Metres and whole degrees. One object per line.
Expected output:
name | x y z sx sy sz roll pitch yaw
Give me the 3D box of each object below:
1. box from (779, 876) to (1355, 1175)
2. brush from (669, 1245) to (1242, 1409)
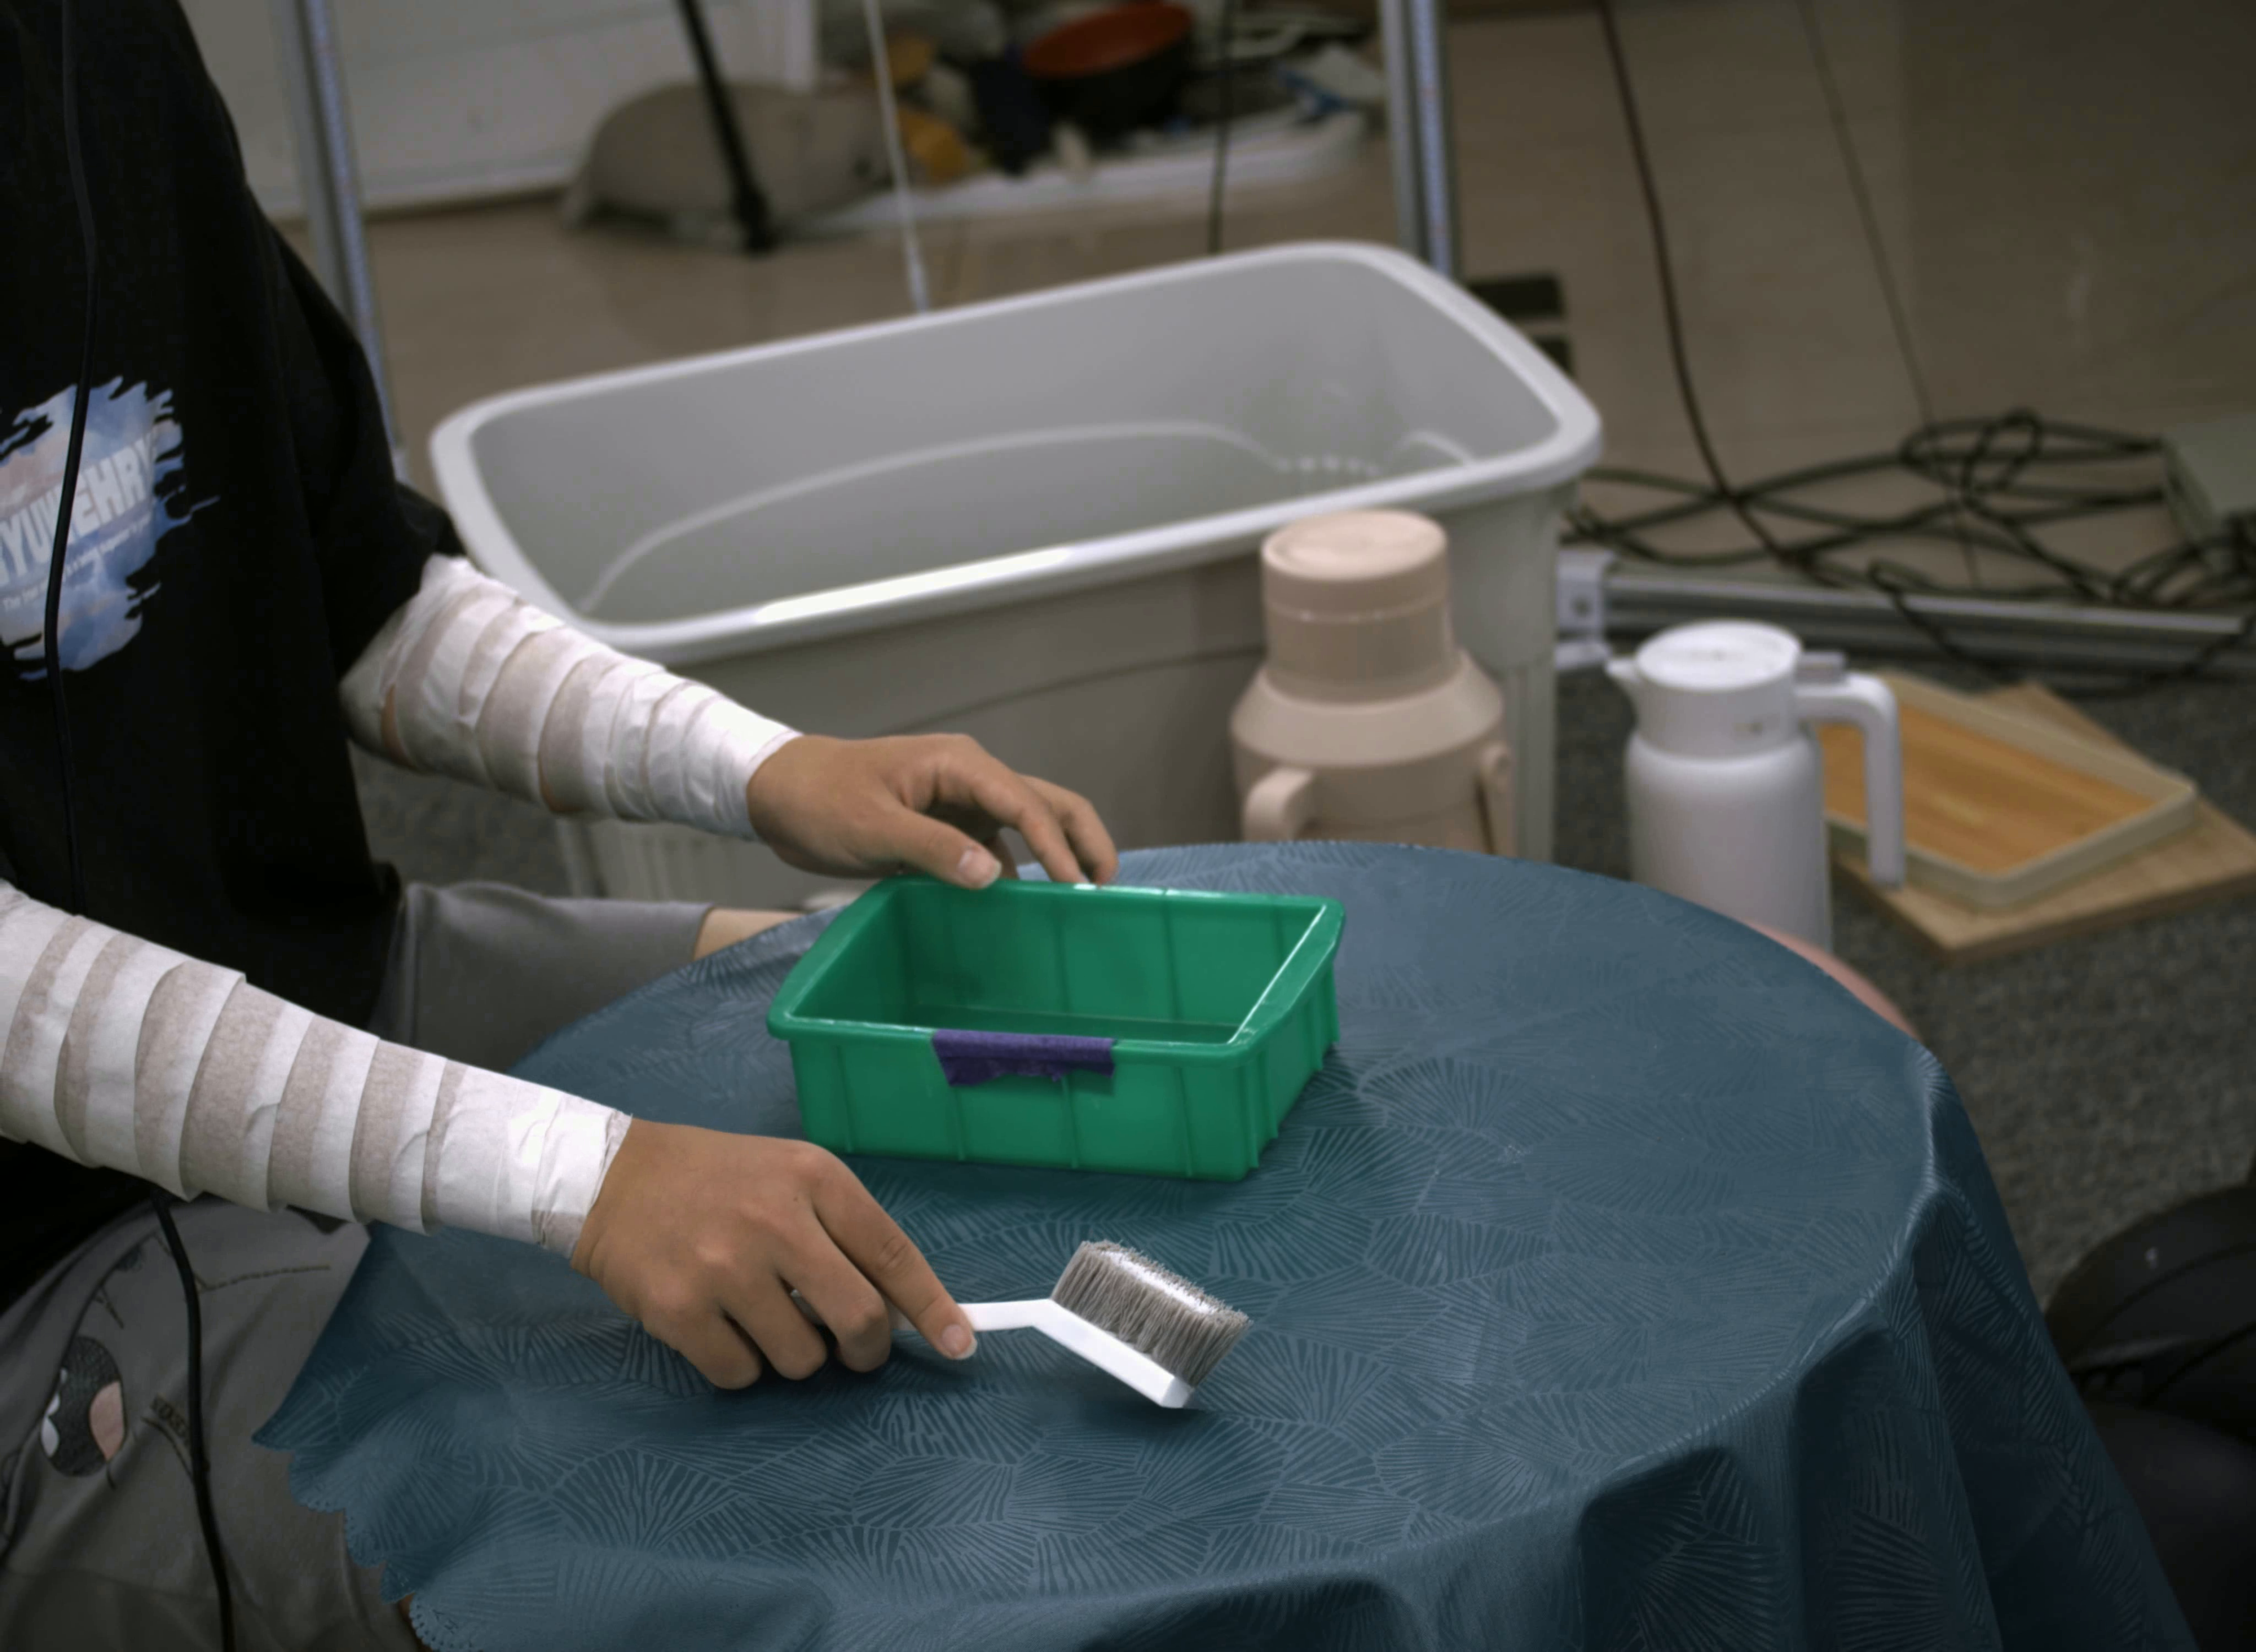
box | -0.019 0.078 2.211 0.210 0.066 0.136 2 28 20
brush | -0.066 0.165 2.047 0.242 0.050 0.034 10 6 34
